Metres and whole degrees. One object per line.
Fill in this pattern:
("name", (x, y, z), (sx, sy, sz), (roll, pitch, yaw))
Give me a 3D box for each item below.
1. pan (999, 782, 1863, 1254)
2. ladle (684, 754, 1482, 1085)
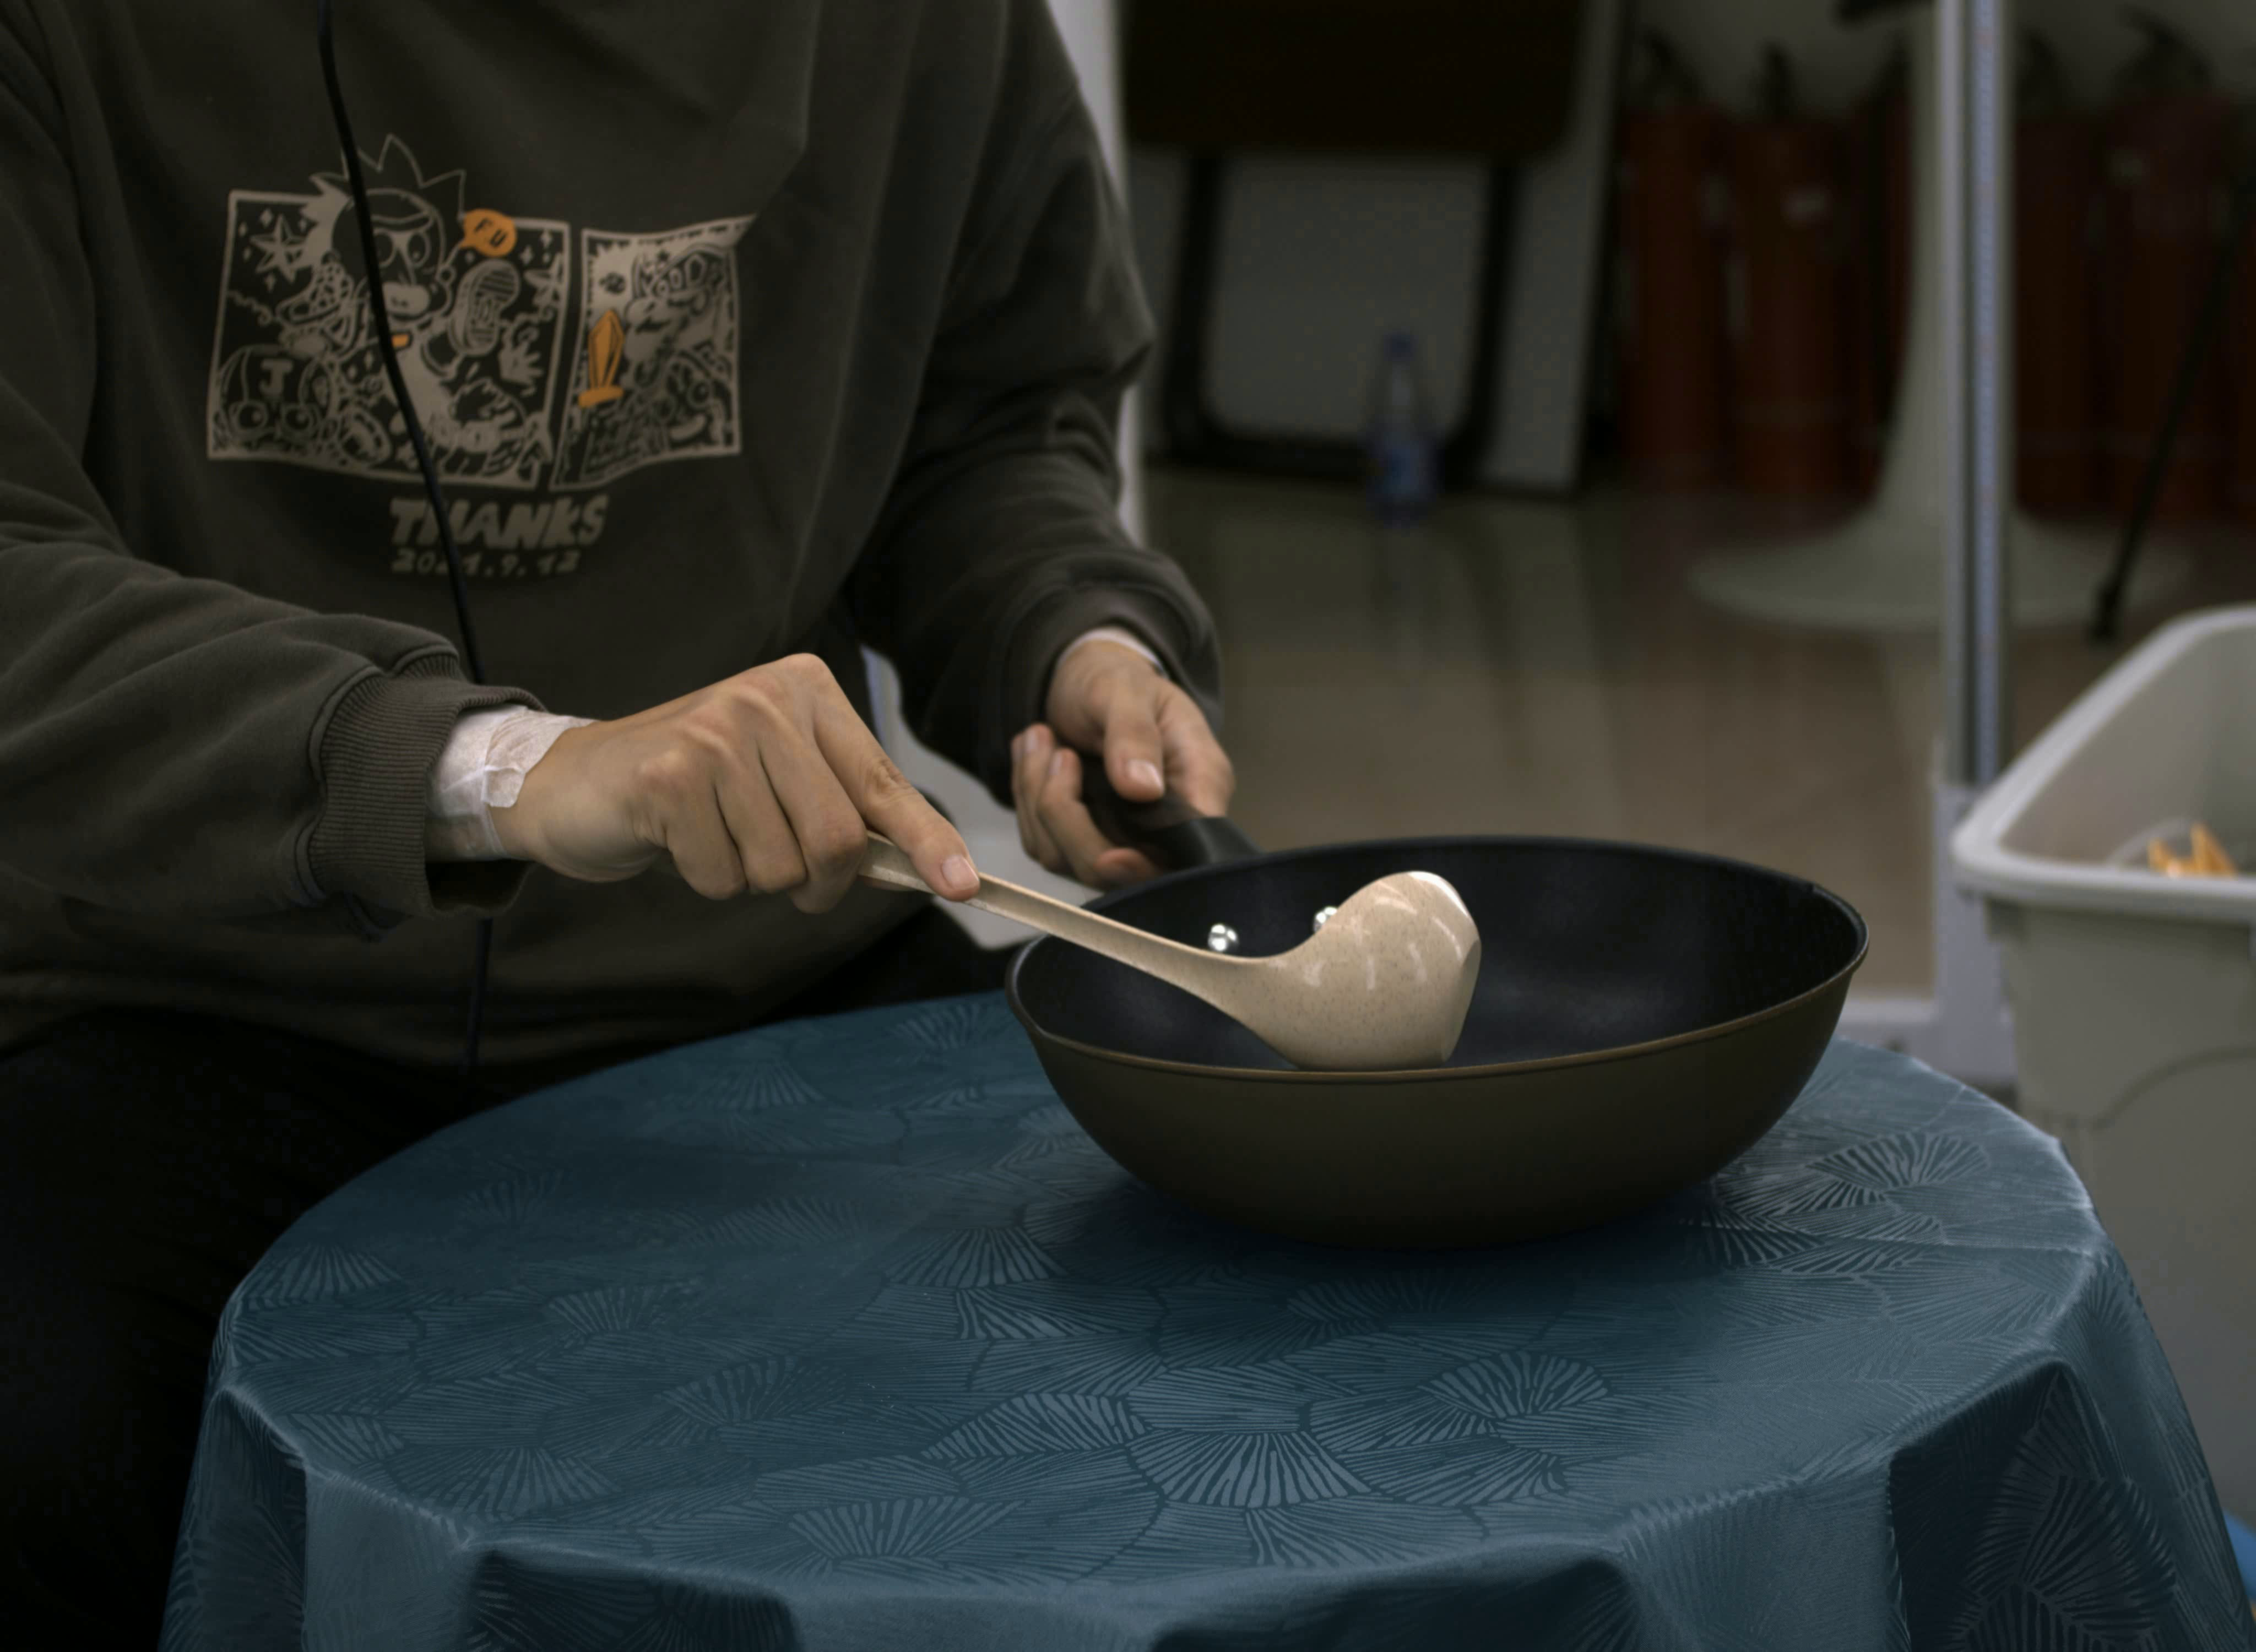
("pan", (0.065, 0.061, 1.832), (0.282, 0.088, 0.468), (-10, 13, -21))
("ladle", (-0.011, 0.010, 1.670), (0.254, 0.073, 0.072), (23, 41, 17))
